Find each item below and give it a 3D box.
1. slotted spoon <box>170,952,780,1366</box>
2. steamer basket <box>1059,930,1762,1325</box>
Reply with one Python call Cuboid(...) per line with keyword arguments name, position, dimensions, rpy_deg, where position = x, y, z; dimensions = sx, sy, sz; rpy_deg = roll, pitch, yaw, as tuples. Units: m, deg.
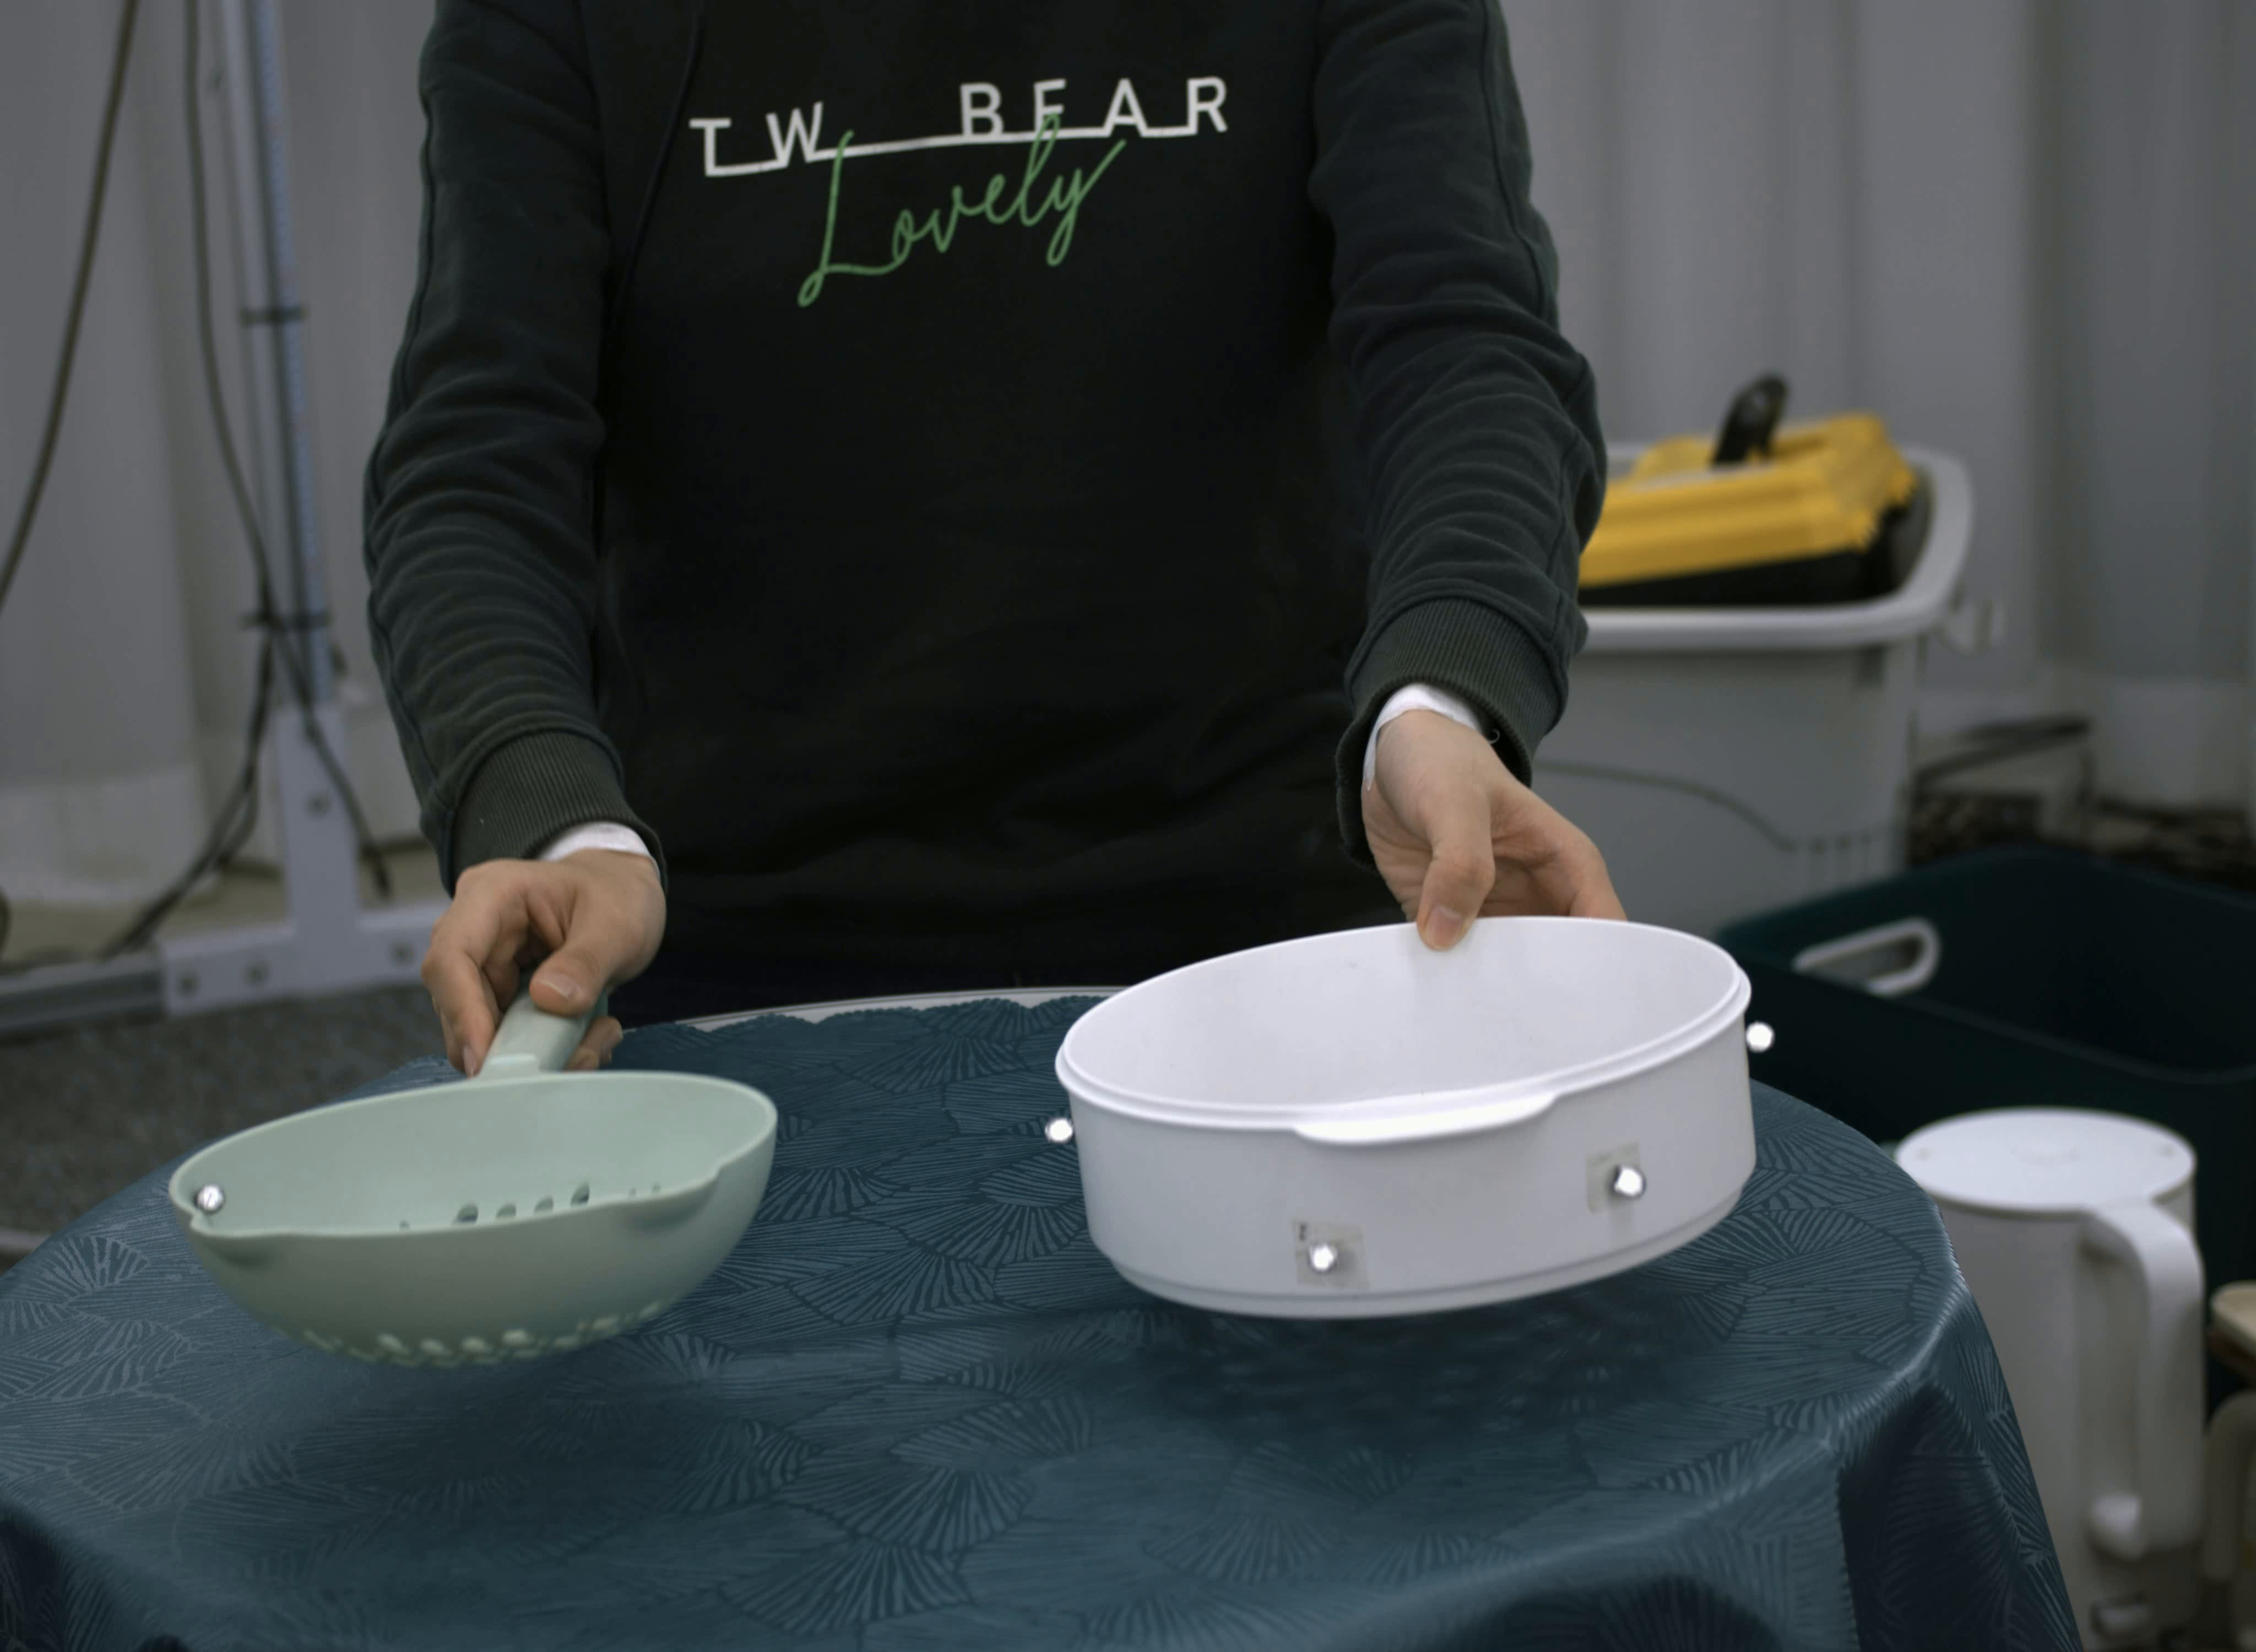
Cuboid(name="slotted spoon", position=(-0.179, 0.081, 1.607), dimensions=(0.169, 0.075, 0.362), rpy_deg=(-5, 18, 0))
Cuboid(name="steamer basket", position=(0.083, 0.086, 1.566), dimensions=(0.201, 0.069, 0.232), rpy_deg=(-6, 12, -1))
